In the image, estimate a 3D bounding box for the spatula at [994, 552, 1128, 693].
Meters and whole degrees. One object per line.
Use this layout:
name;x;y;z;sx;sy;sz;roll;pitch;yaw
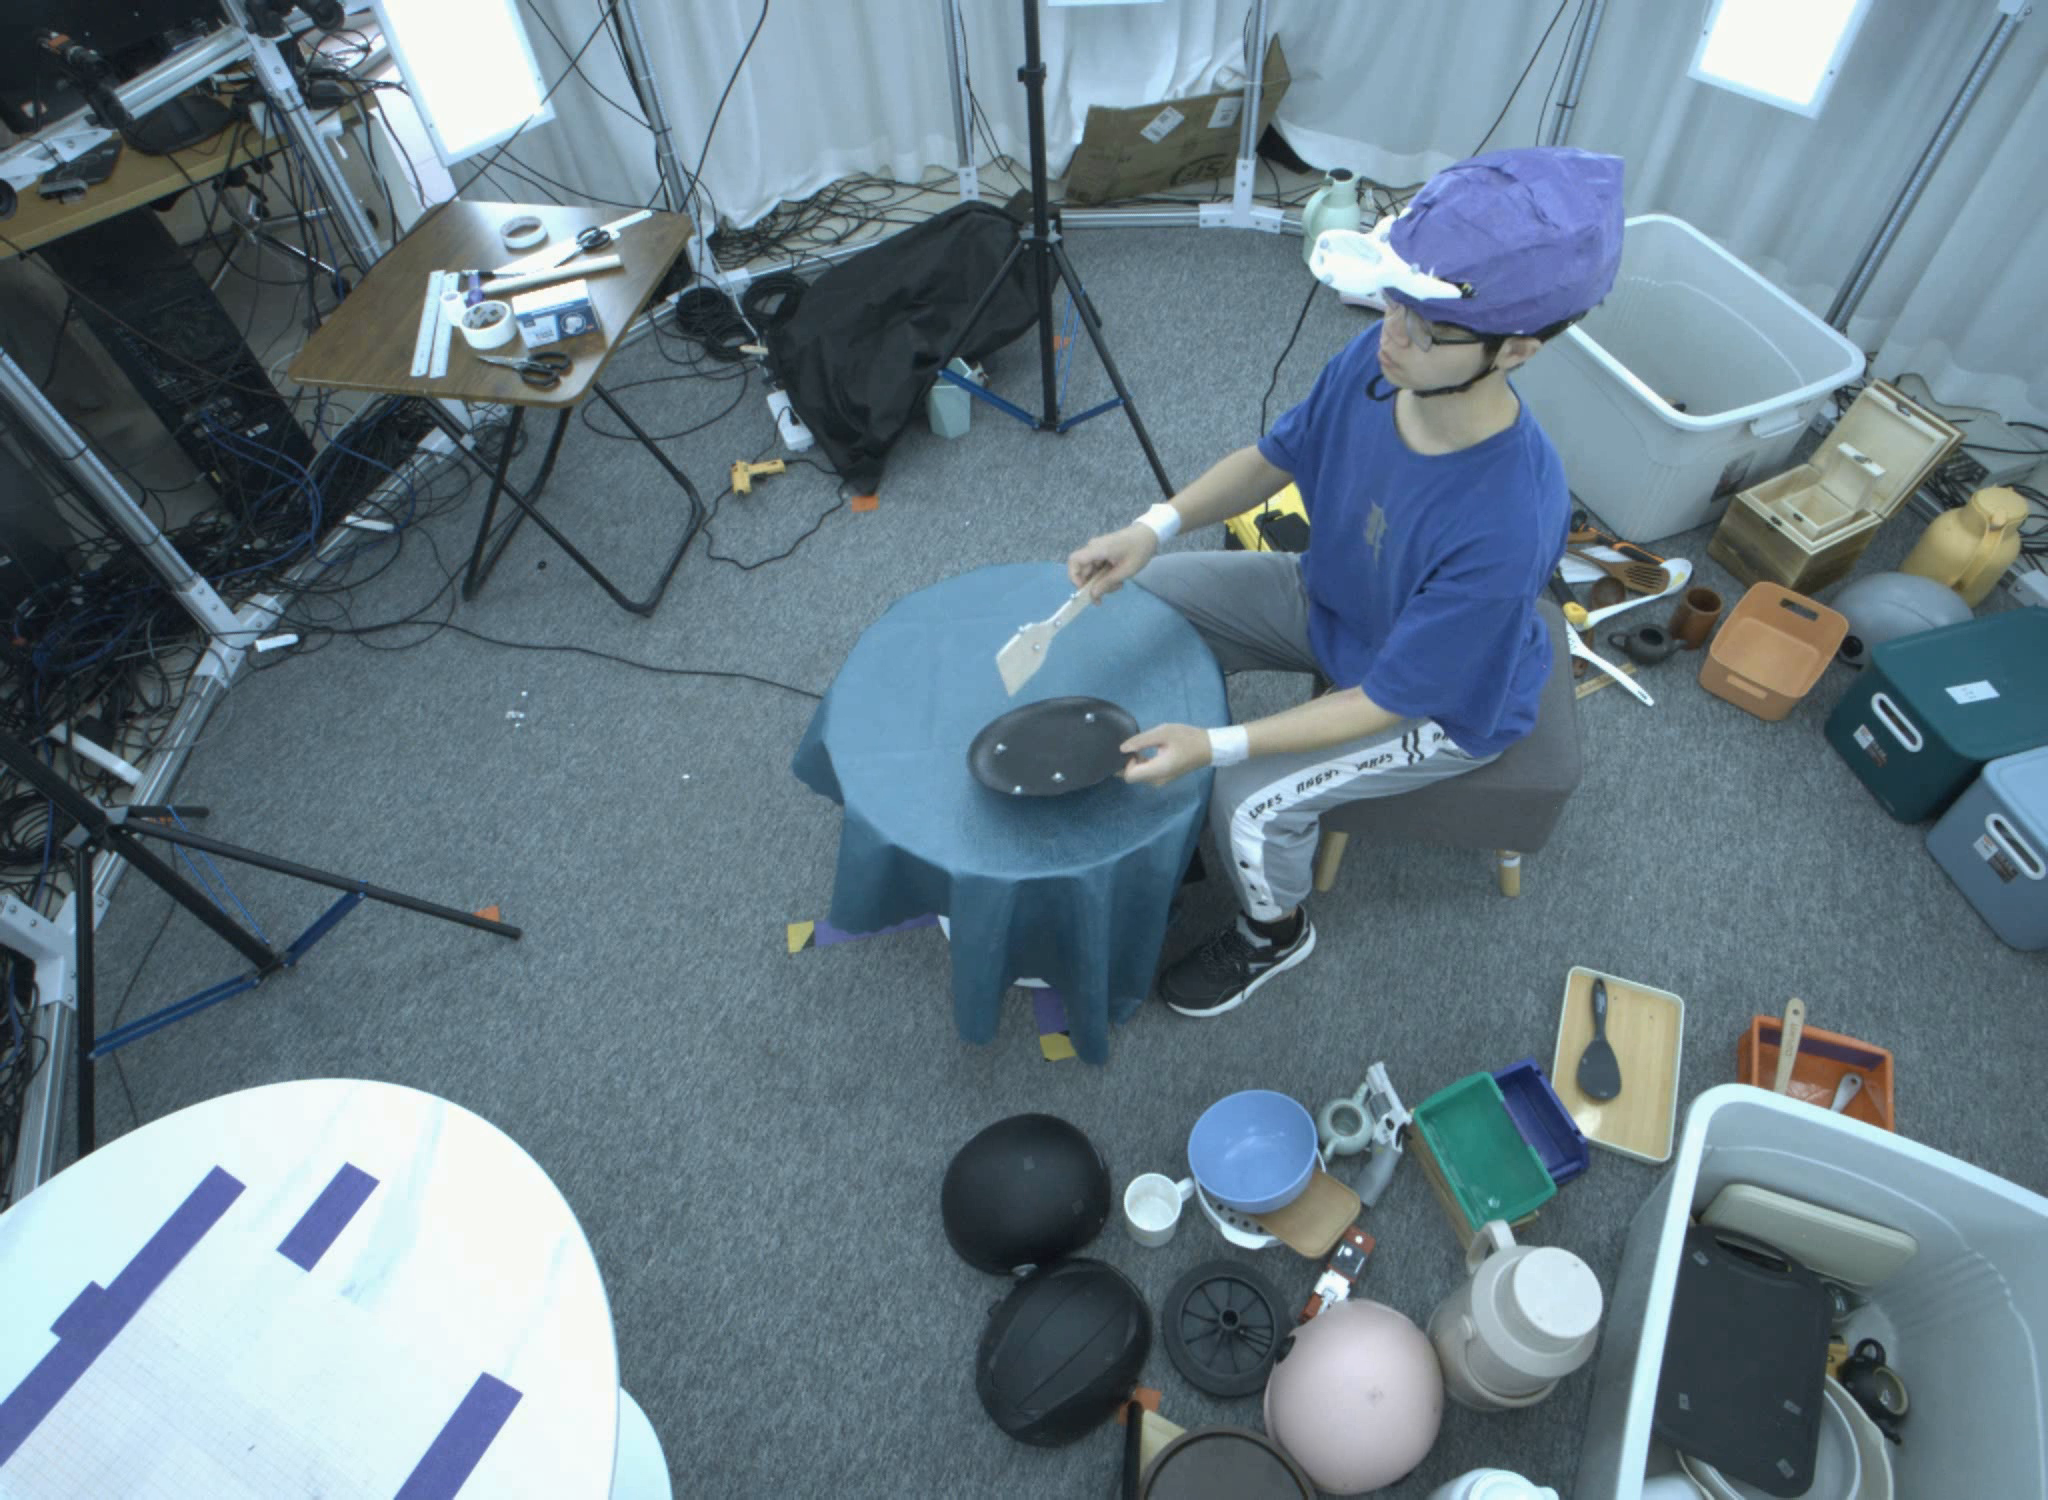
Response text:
spatula;0.057;-0.192;1.727;0.010;0.073;0.295;19;52;39

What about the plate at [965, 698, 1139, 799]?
plate;0.039;0.001;1.701;0.243;0.024;0.242;-8;33;6
